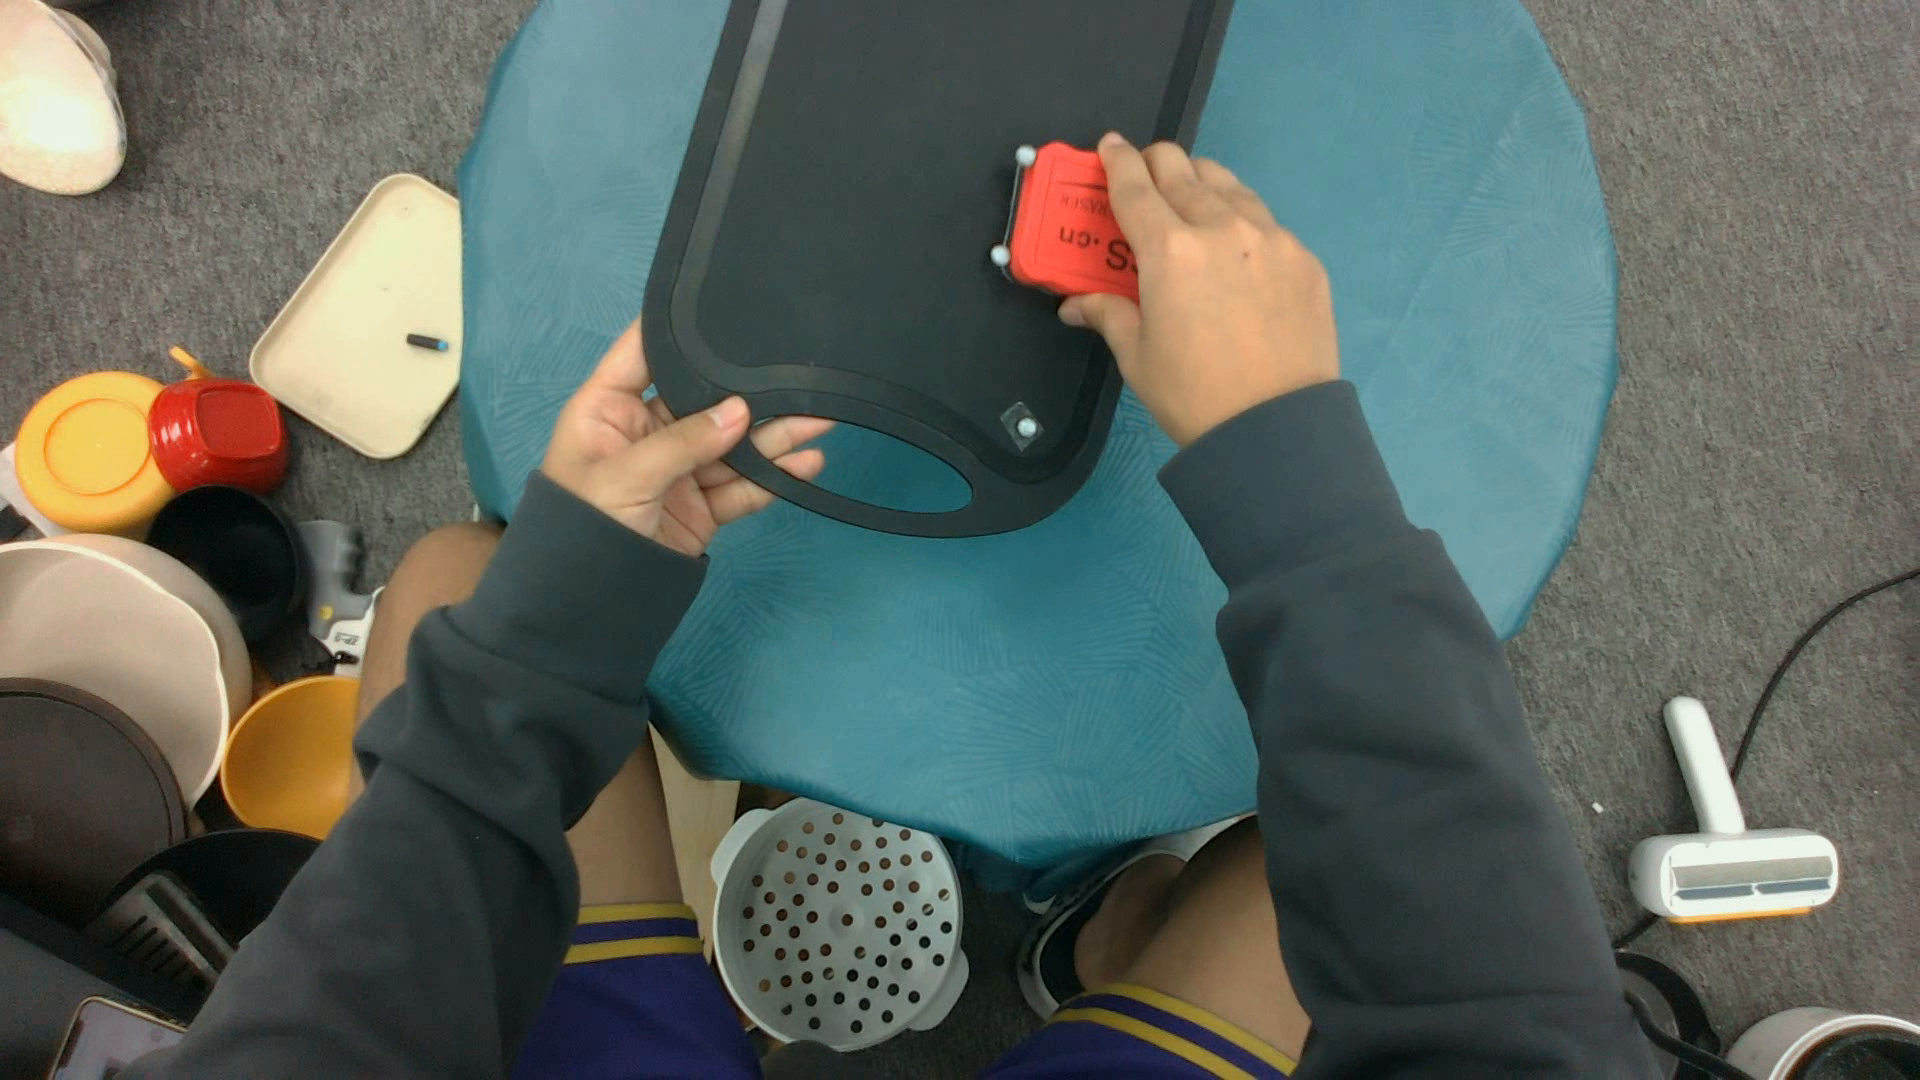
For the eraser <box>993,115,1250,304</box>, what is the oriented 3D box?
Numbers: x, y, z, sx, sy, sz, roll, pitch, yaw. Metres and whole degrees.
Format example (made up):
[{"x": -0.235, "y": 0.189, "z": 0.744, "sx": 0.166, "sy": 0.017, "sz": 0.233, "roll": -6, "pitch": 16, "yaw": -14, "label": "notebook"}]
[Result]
[{"x": 0.070, "y": -0.140, "z": 0.589, "sx": 0.108, "sy": 0.023, "sz": 0.059, "roll": 11, "pitch": 92, "yaw": -22, "label": "eraser"}]

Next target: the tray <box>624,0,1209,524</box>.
[{"x": -0.007, "y": -0.168, "z": 0.569, "sx": 0.211, "sy": 0.010, "sz": 0.325, "roll": 17, "pitch": 88, "yaw": -25, "label": "tray"}]
